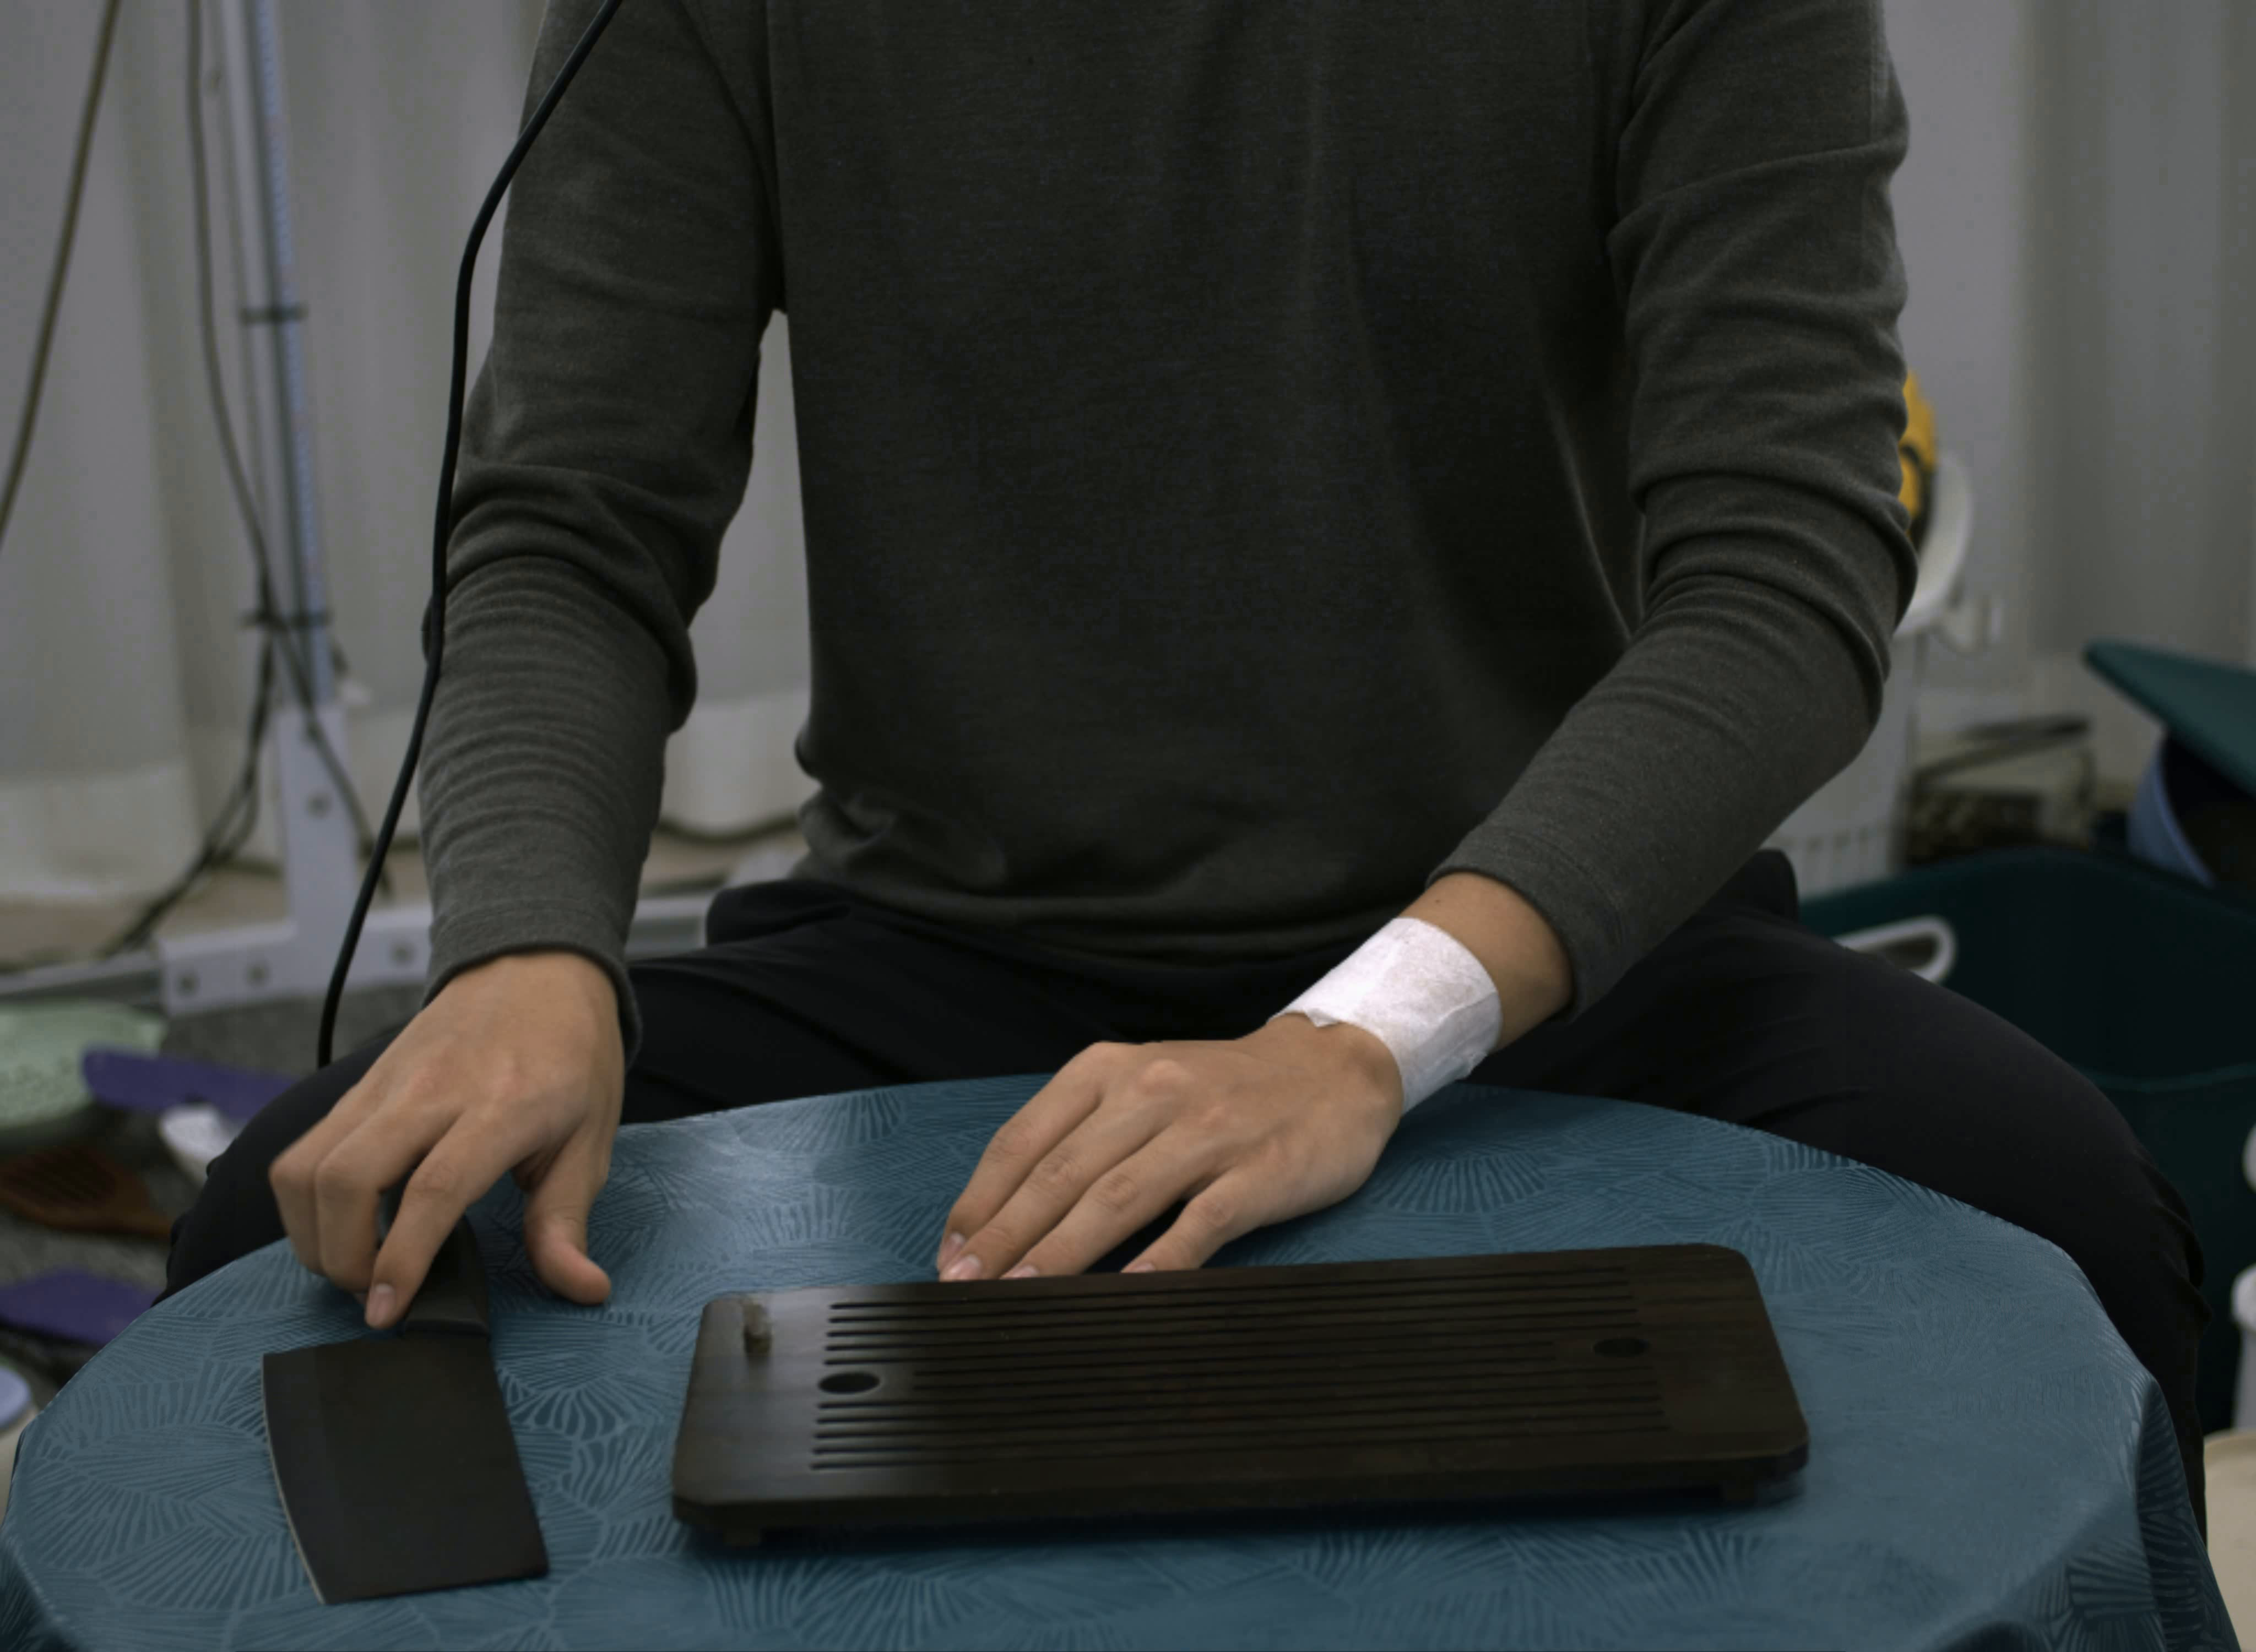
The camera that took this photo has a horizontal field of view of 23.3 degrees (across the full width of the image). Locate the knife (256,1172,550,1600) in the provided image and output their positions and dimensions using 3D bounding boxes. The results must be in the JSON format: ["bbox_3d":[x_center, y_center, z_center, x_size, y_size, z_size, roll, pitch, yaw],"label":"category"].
[{"bbox_3d":[-0.210,0.158,1.568,0.080,0.021,0.305,-6,17,-6],"label":"knife"}]

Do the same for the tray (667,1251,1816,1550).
[{"bbox_3d":[0.030,0.158,1.512,0.305,0.018,0.171,-2,14,1],"label":"tray"}]
